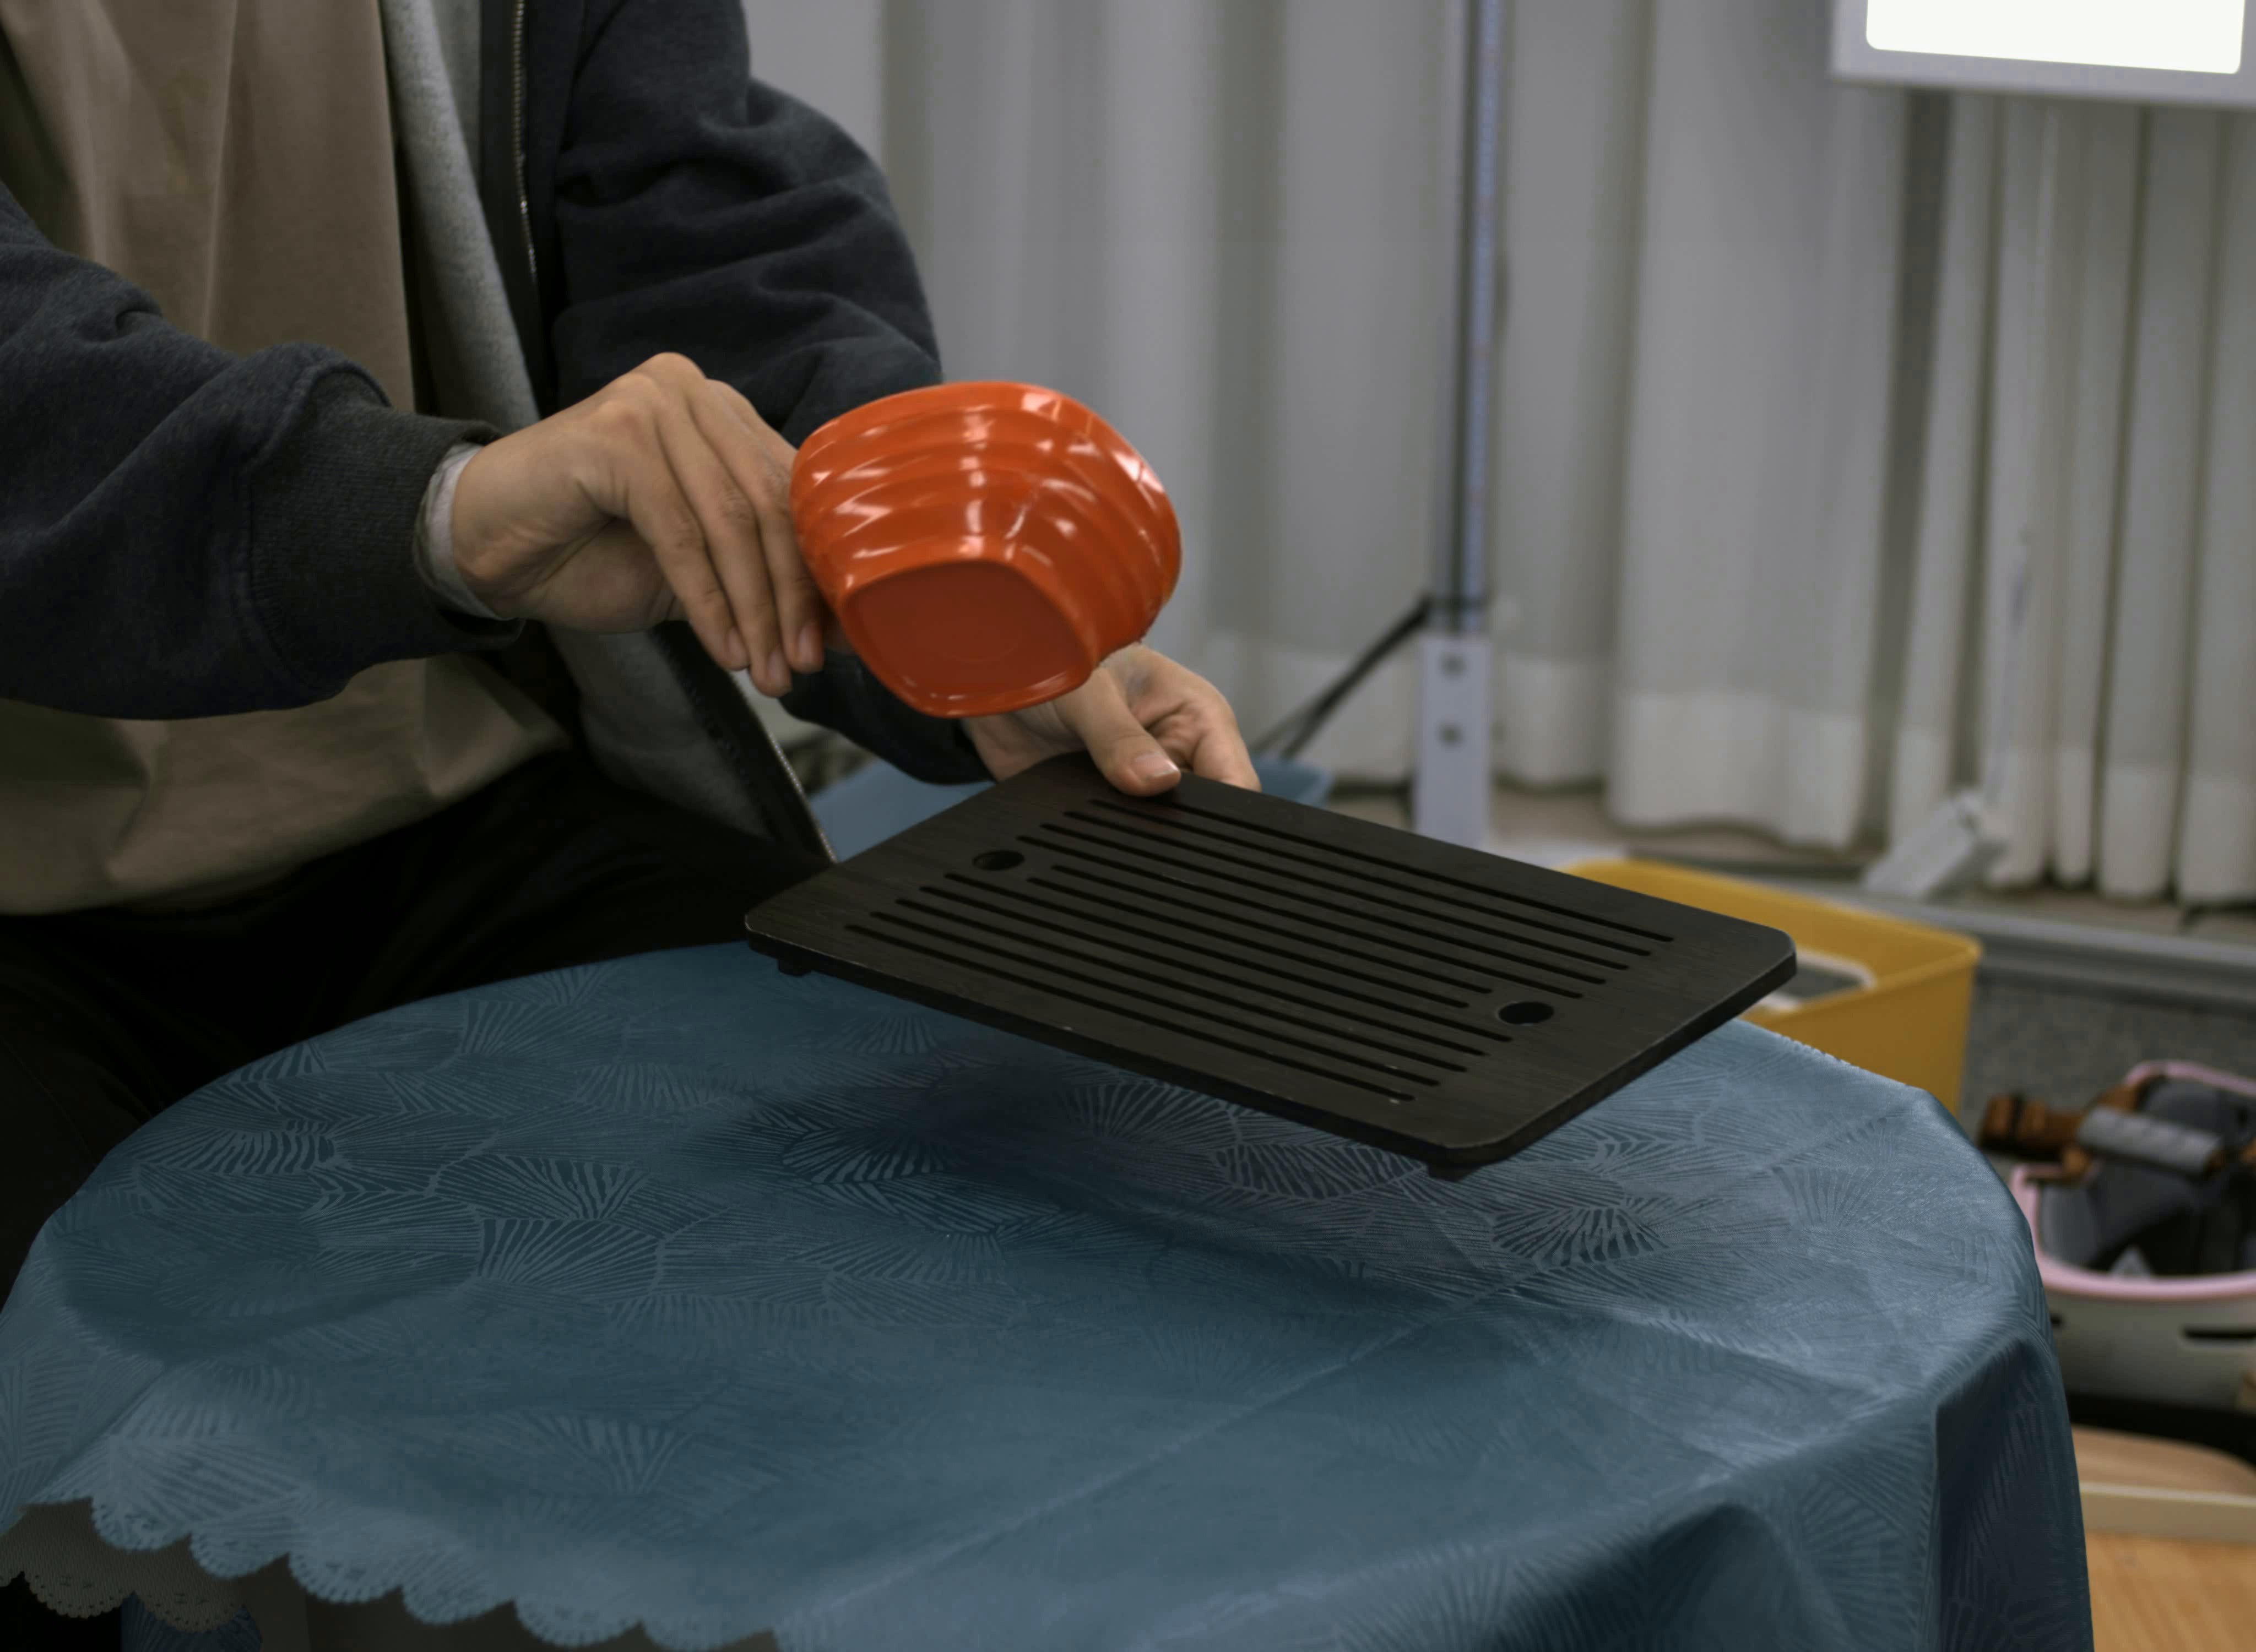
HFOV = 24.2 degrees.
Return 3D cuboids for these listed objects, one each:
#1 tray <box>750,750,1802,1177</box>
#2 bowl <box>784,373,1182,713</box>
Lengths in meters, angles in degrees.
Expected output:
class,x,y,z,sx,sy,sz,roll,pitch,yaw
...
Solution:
class,x,y,z,sx,sy,sz,roll,pitch,yaw
tray,0.043,0.039,1.644,0.302,0.019,0.170,15,30,38
bowl,-0.045,-0.074,1.521,0.118,0.120,0.051,3,54,8
